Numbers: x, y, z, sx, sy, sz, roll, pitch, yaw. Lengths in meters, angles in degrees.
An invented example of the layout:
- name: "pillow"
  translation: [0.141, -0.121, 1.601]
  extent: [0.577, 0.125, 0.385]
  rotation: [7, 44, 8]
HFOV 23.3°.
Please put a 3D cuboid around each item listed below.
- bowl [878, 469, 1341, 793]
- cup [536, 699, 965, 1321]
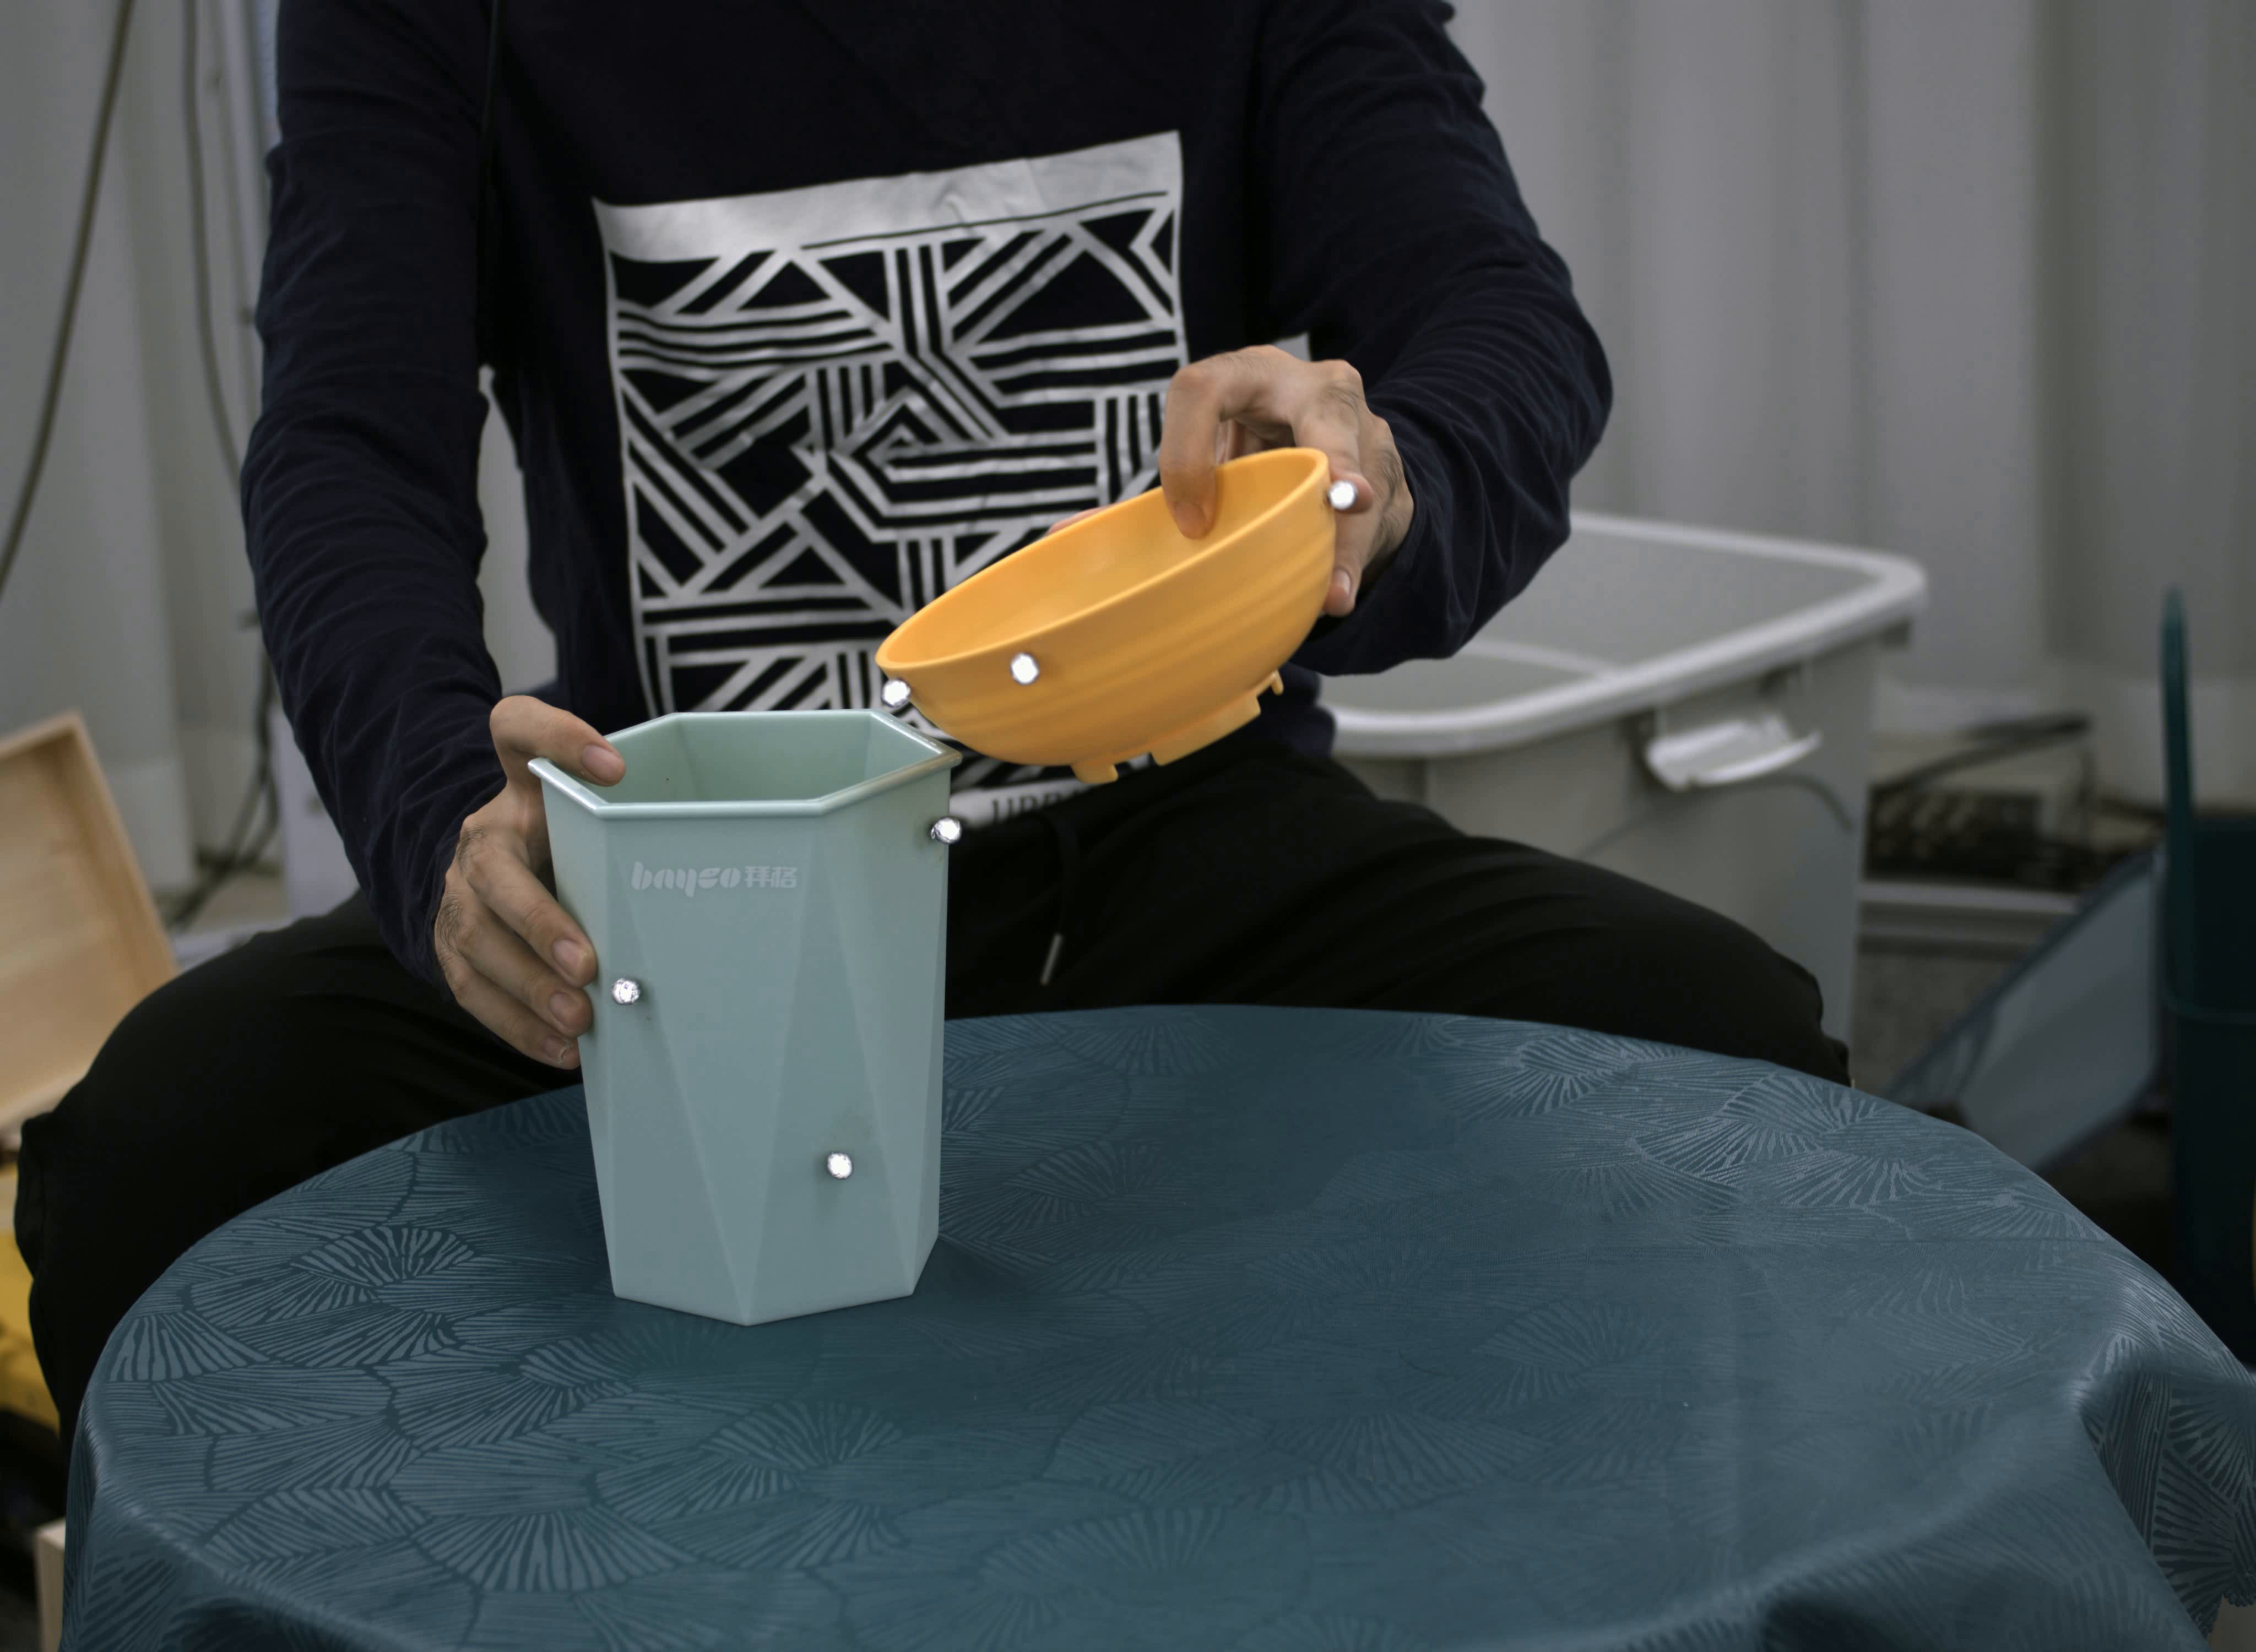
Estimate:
- name: "bowl"
  translation: [0.004, -0.050, 1.601]
  extent: [0.145, 0.060, 0.146]
  rotation: [-22, 10, 4]
- name: "cup"
  translation: [-0.109, 0.055, 1.641]
  extent: [0.131, 0.162, 0.116]
  rotation: [-1, 14, 7]
